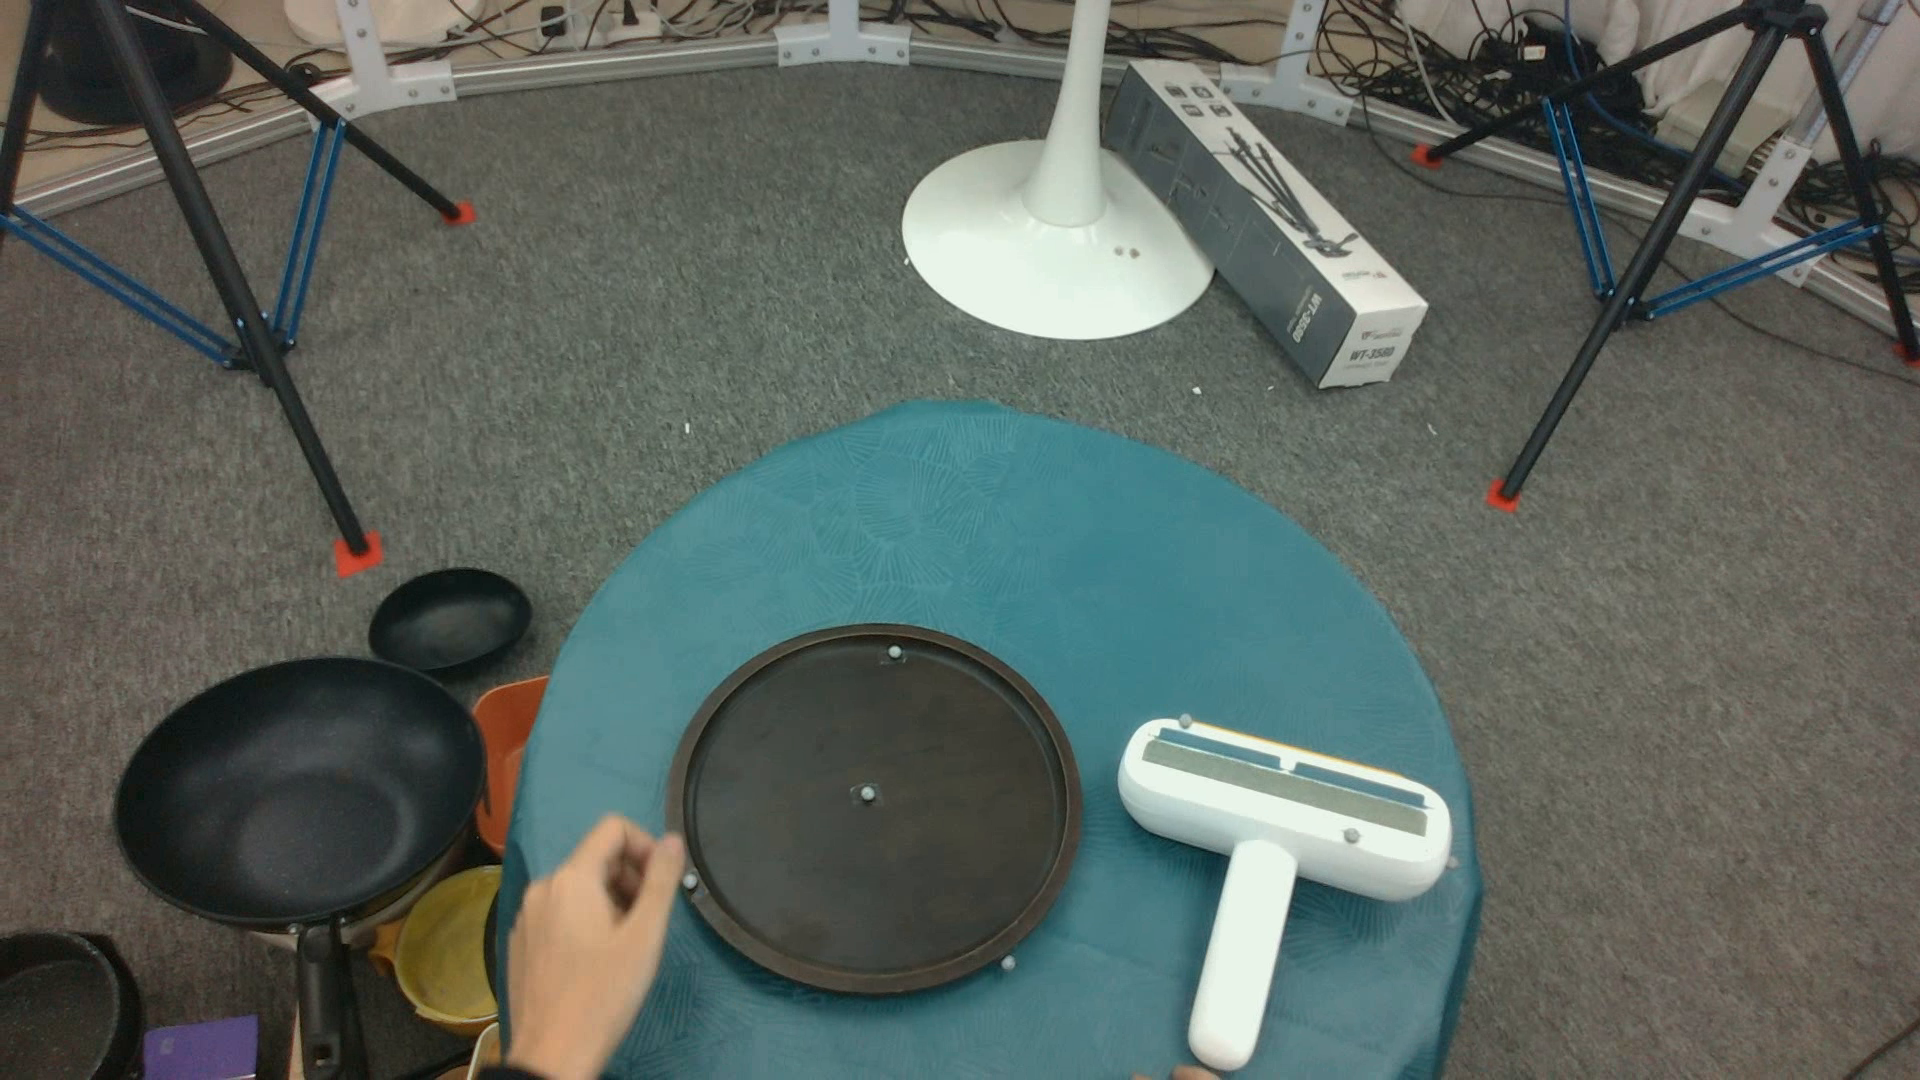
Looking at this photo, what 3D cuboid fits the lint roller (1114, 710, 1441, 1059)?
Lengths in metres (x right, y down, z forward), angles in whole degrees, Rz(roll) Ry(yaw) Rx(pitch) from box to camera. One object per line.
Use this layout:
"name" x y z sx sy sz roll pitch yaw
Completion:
"lint roller" 0.162 0.201 0.793 0.193 0.074 0.193 19 52 16

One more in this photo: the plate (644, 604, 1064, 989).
"plate" -0.063 0.150 0.839 0.255 0.029 0.256 3 51 -4
